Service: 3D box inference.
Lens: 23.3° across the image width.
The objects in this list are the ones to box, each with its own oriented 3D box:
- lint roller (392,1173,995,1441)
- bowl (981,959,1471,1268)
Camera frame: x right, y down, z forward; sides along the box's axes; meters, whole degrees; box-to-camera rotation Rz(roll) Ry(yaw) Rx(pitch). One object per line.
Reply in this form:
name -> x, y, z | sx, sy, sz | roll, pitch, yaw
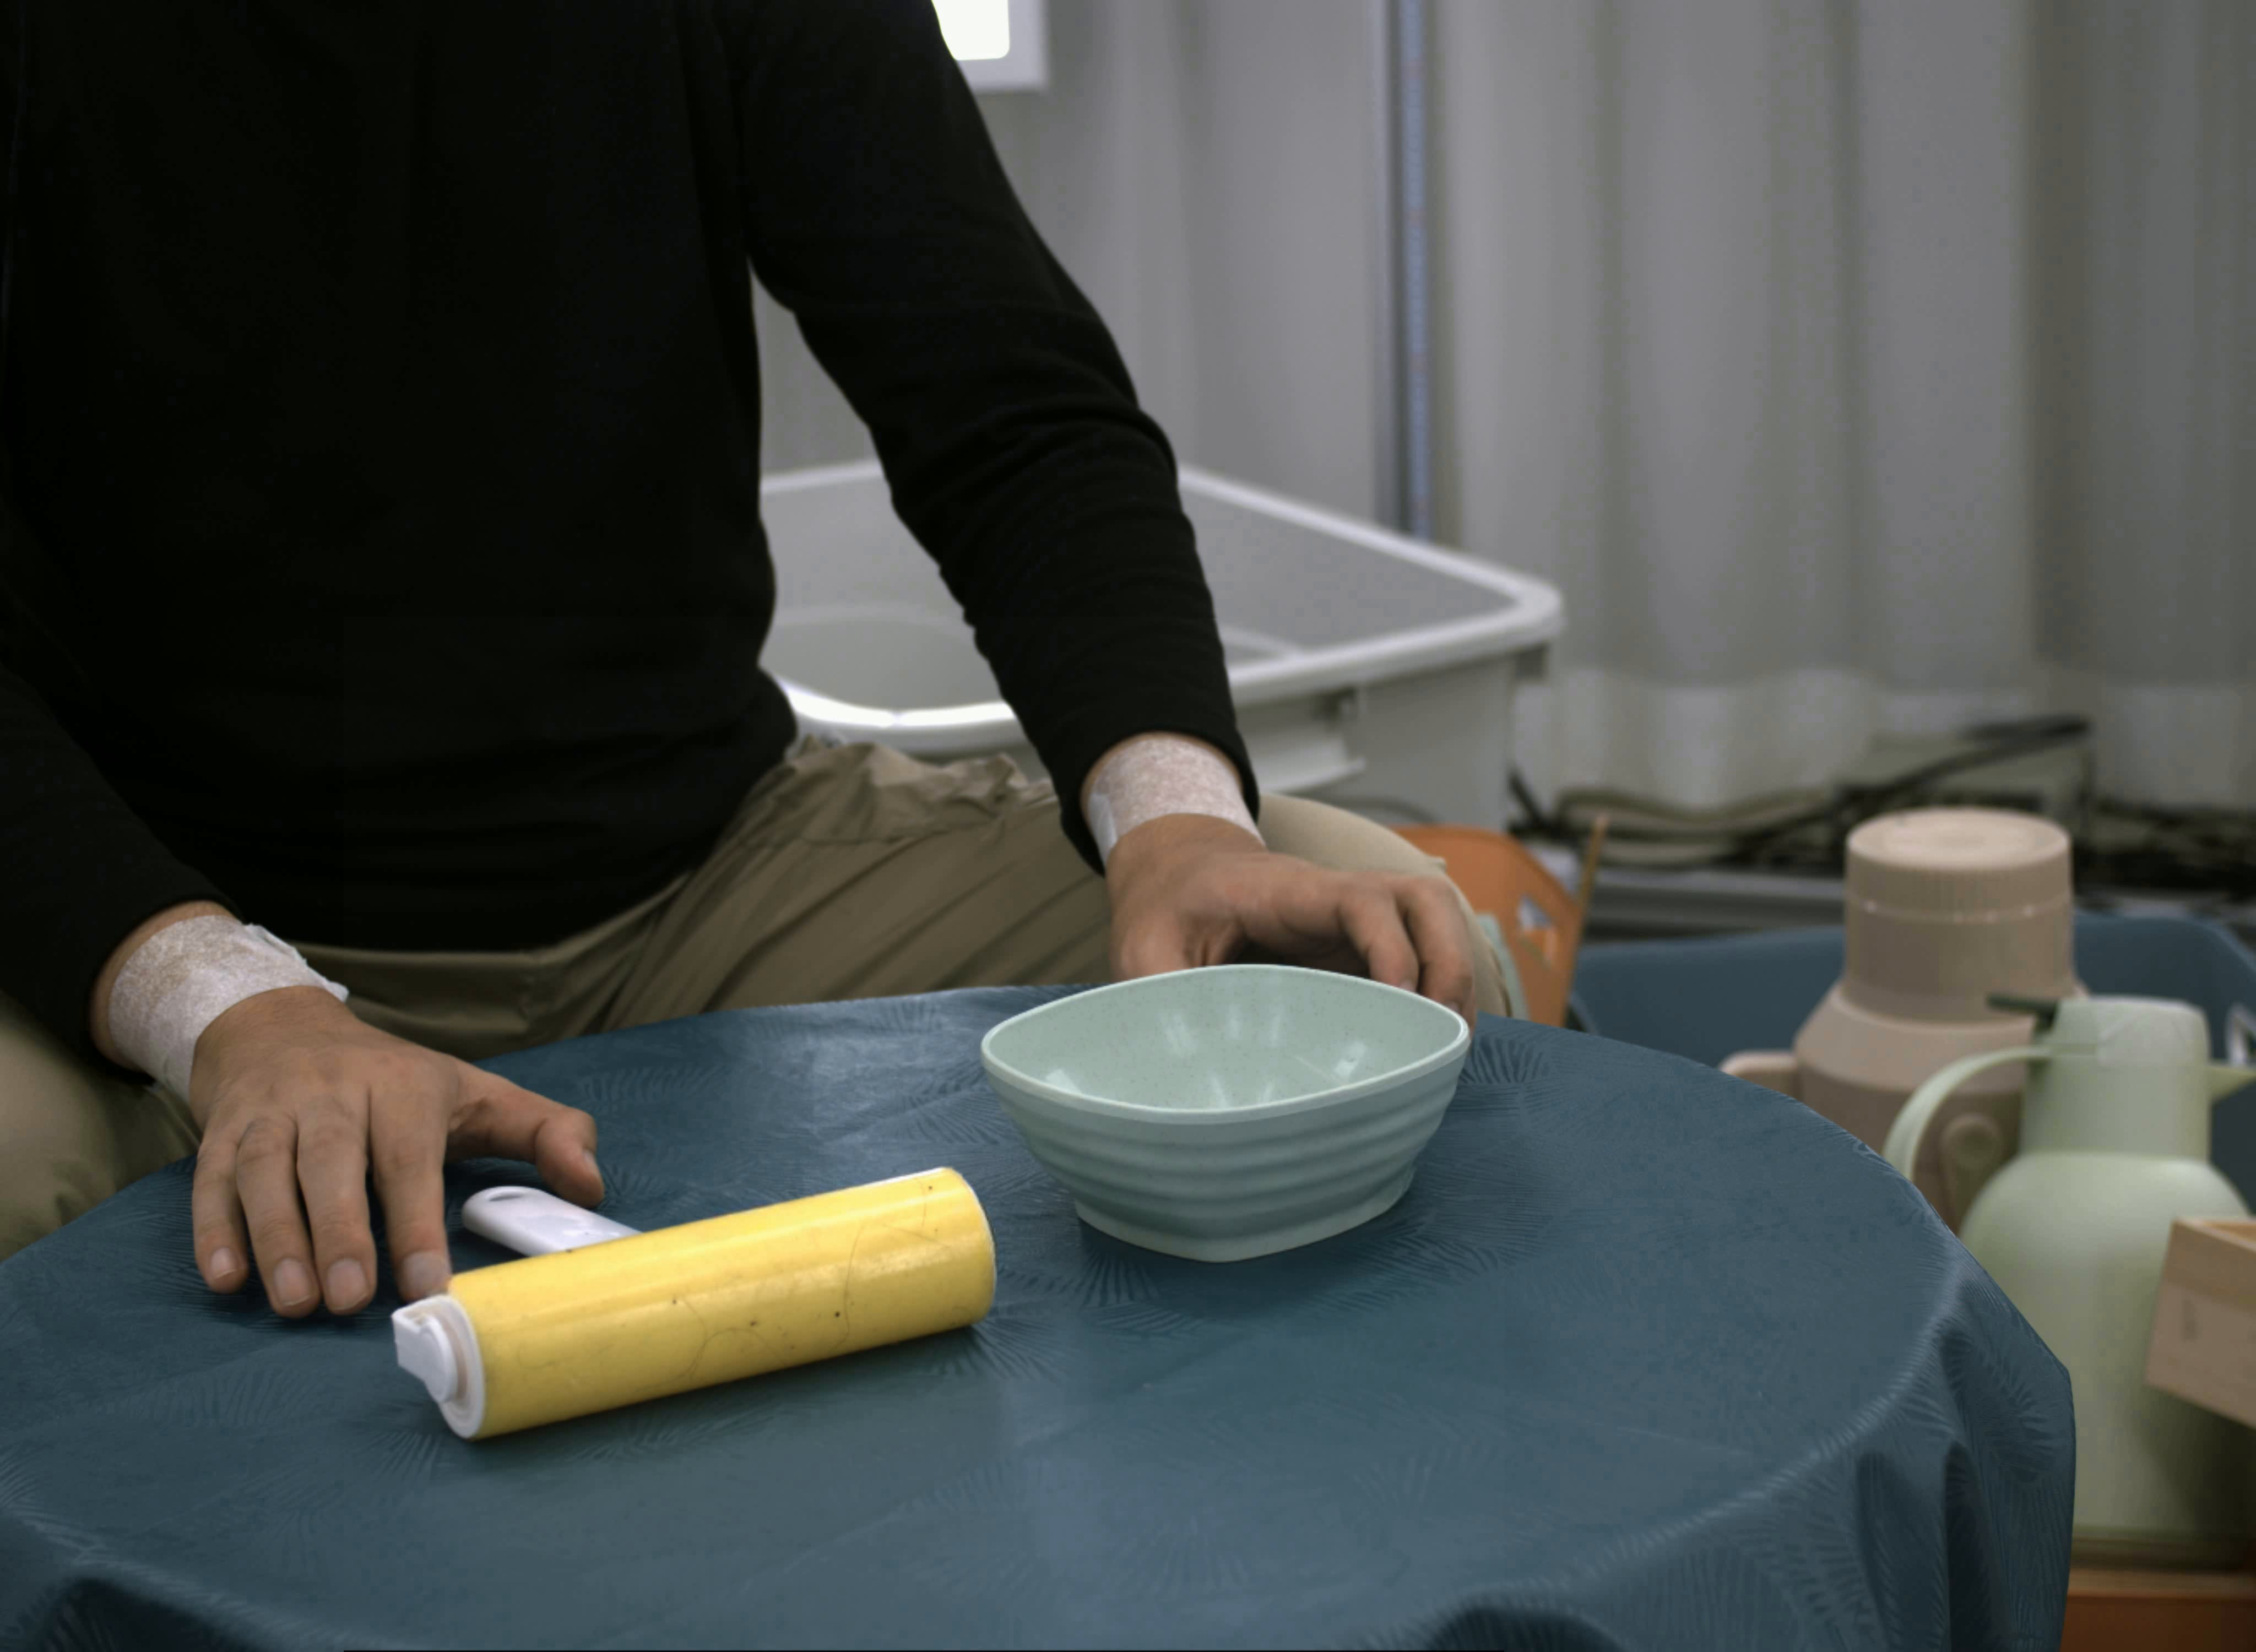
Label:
lint roller -> -0.156, 0.120, 1.624 | 0.173, 0.051, 0.194 | -11, 21, -29
bowl -> 0.031, 0.092, 1.685 | 0.151, 0.058, 0.152 | -2, 16, 0
